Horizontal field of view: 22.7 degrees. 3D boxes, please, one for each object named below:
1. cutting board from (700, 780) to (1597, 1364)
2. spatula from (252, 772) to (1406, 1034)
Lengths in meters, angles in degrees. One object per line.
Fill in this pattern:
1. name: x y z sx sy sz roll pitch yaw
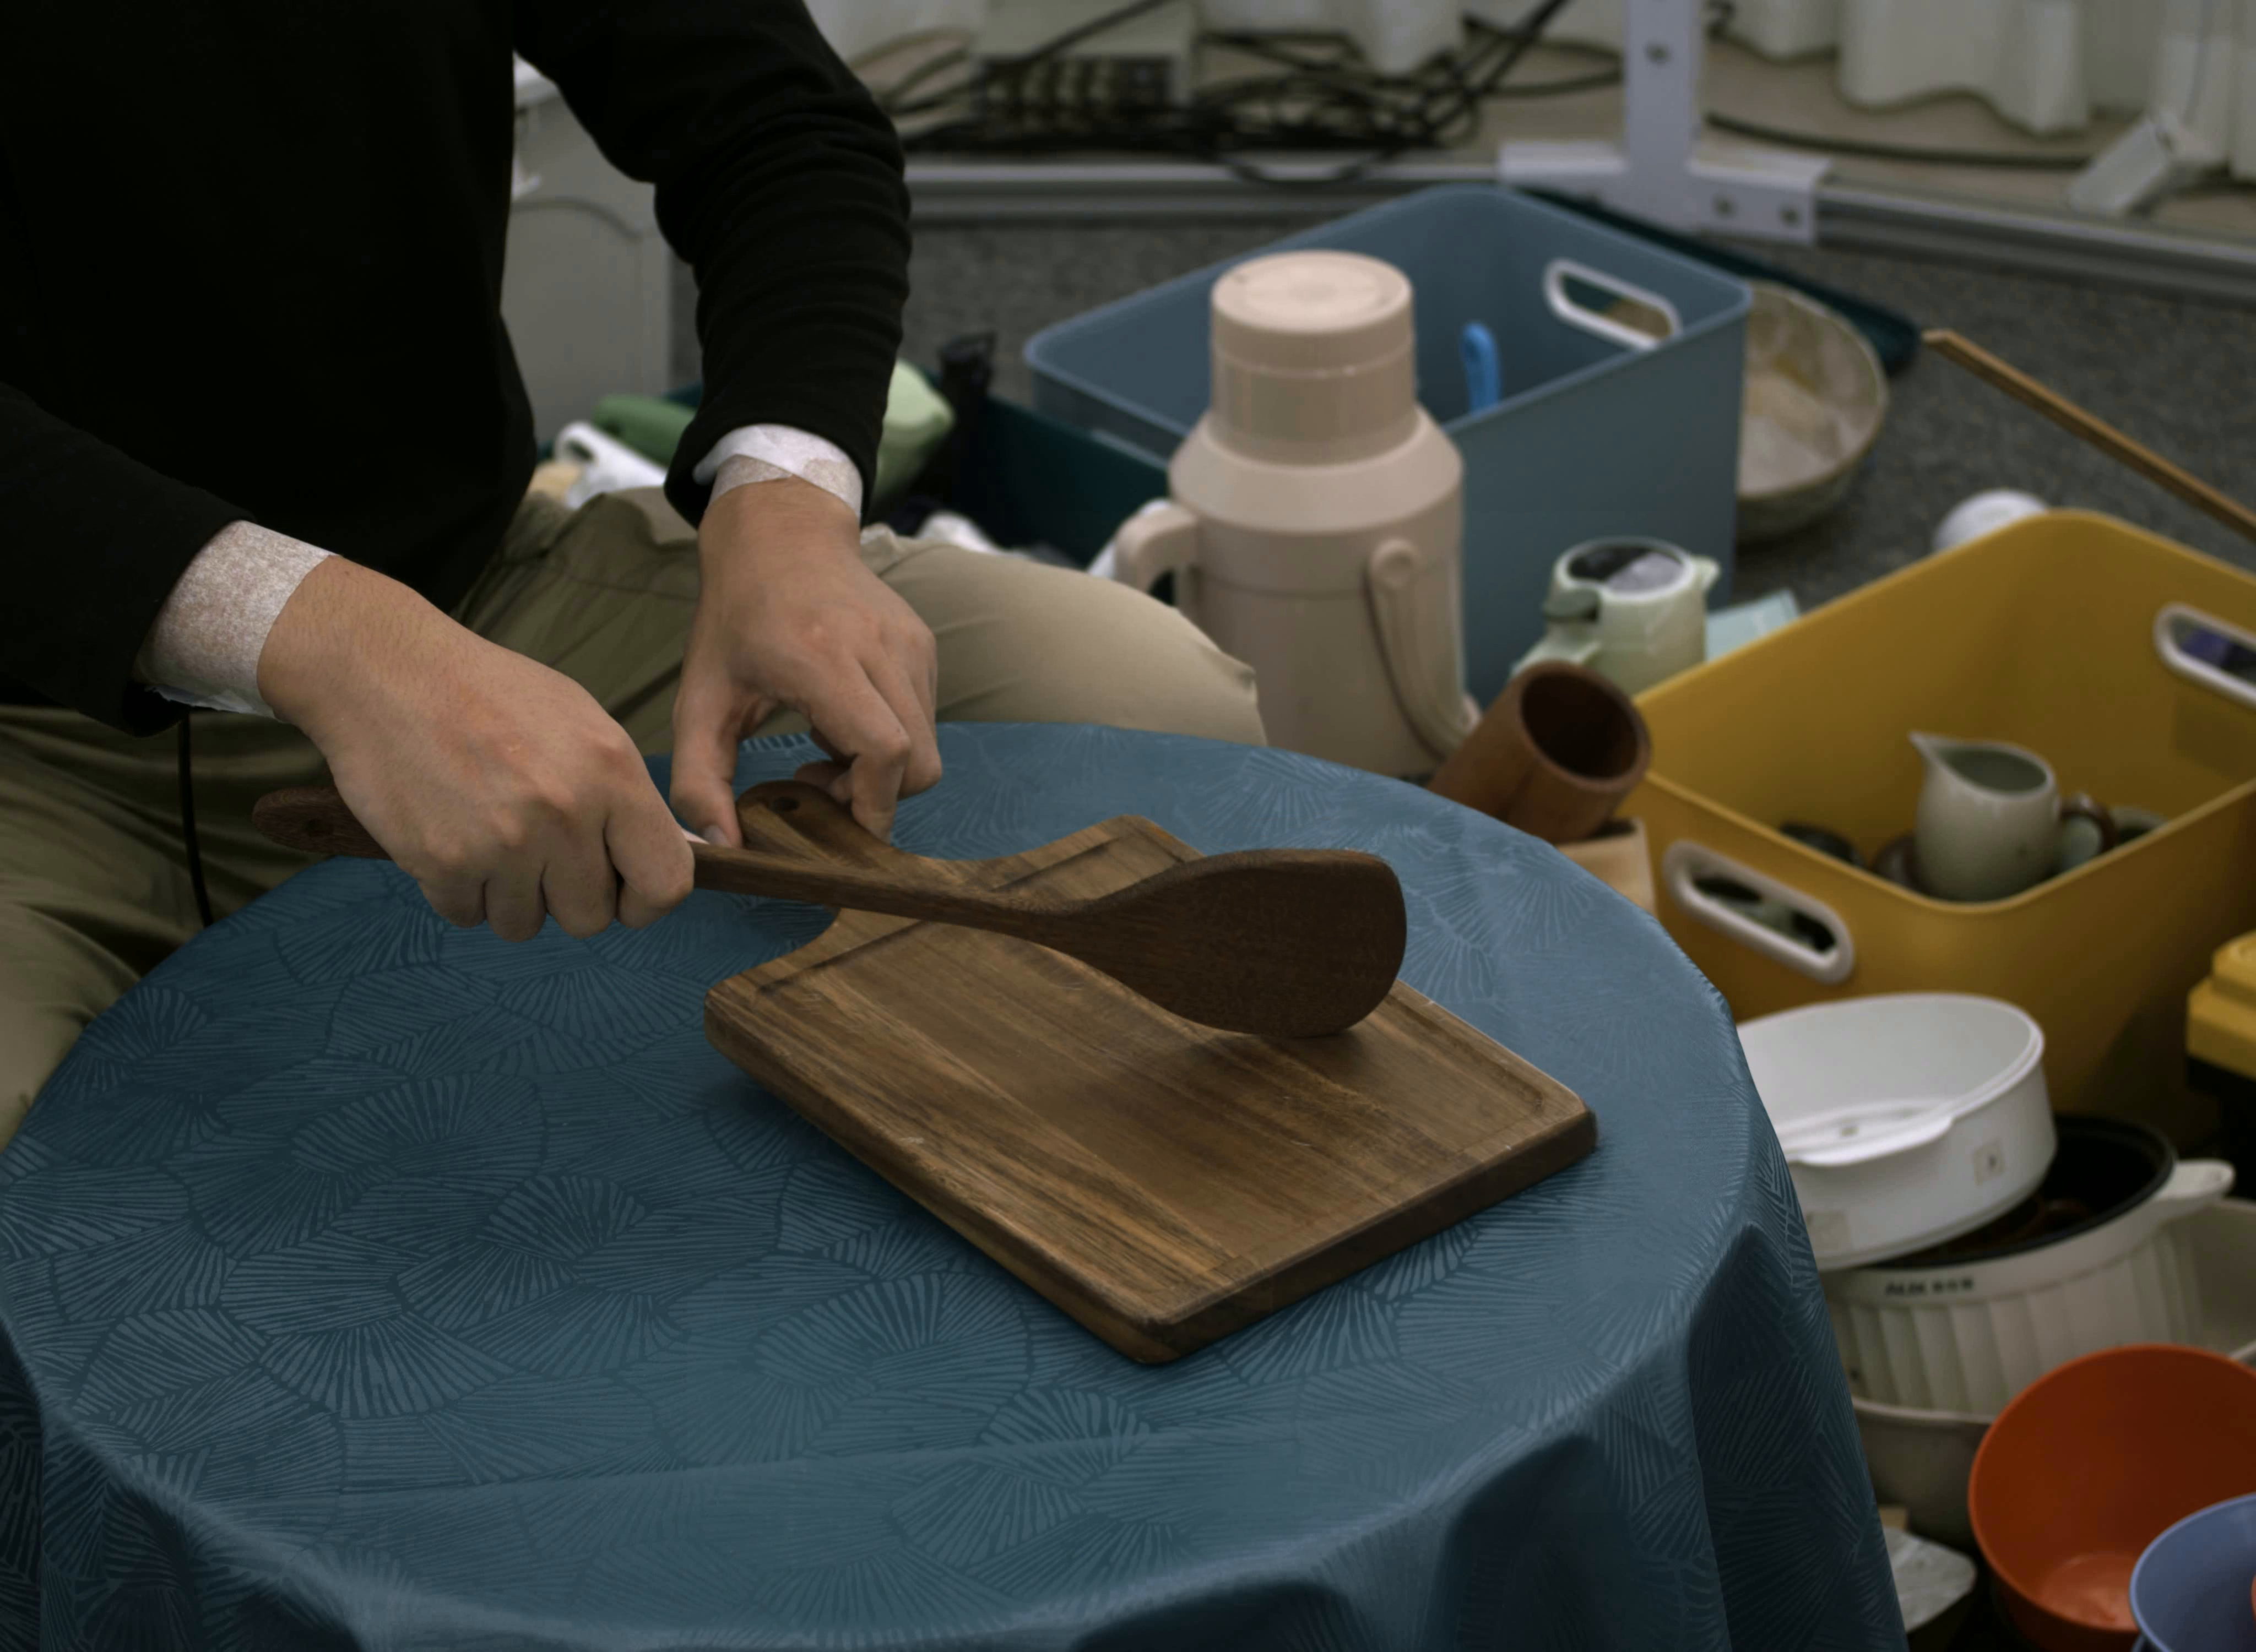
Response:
1. cutting board: -0.026 0.063 1.928 0.203 0.023 0.353 -23 37 -33
2. spatula: -0.099 0.017 1.866 0.384 0.094 0.016 8 47 -1
